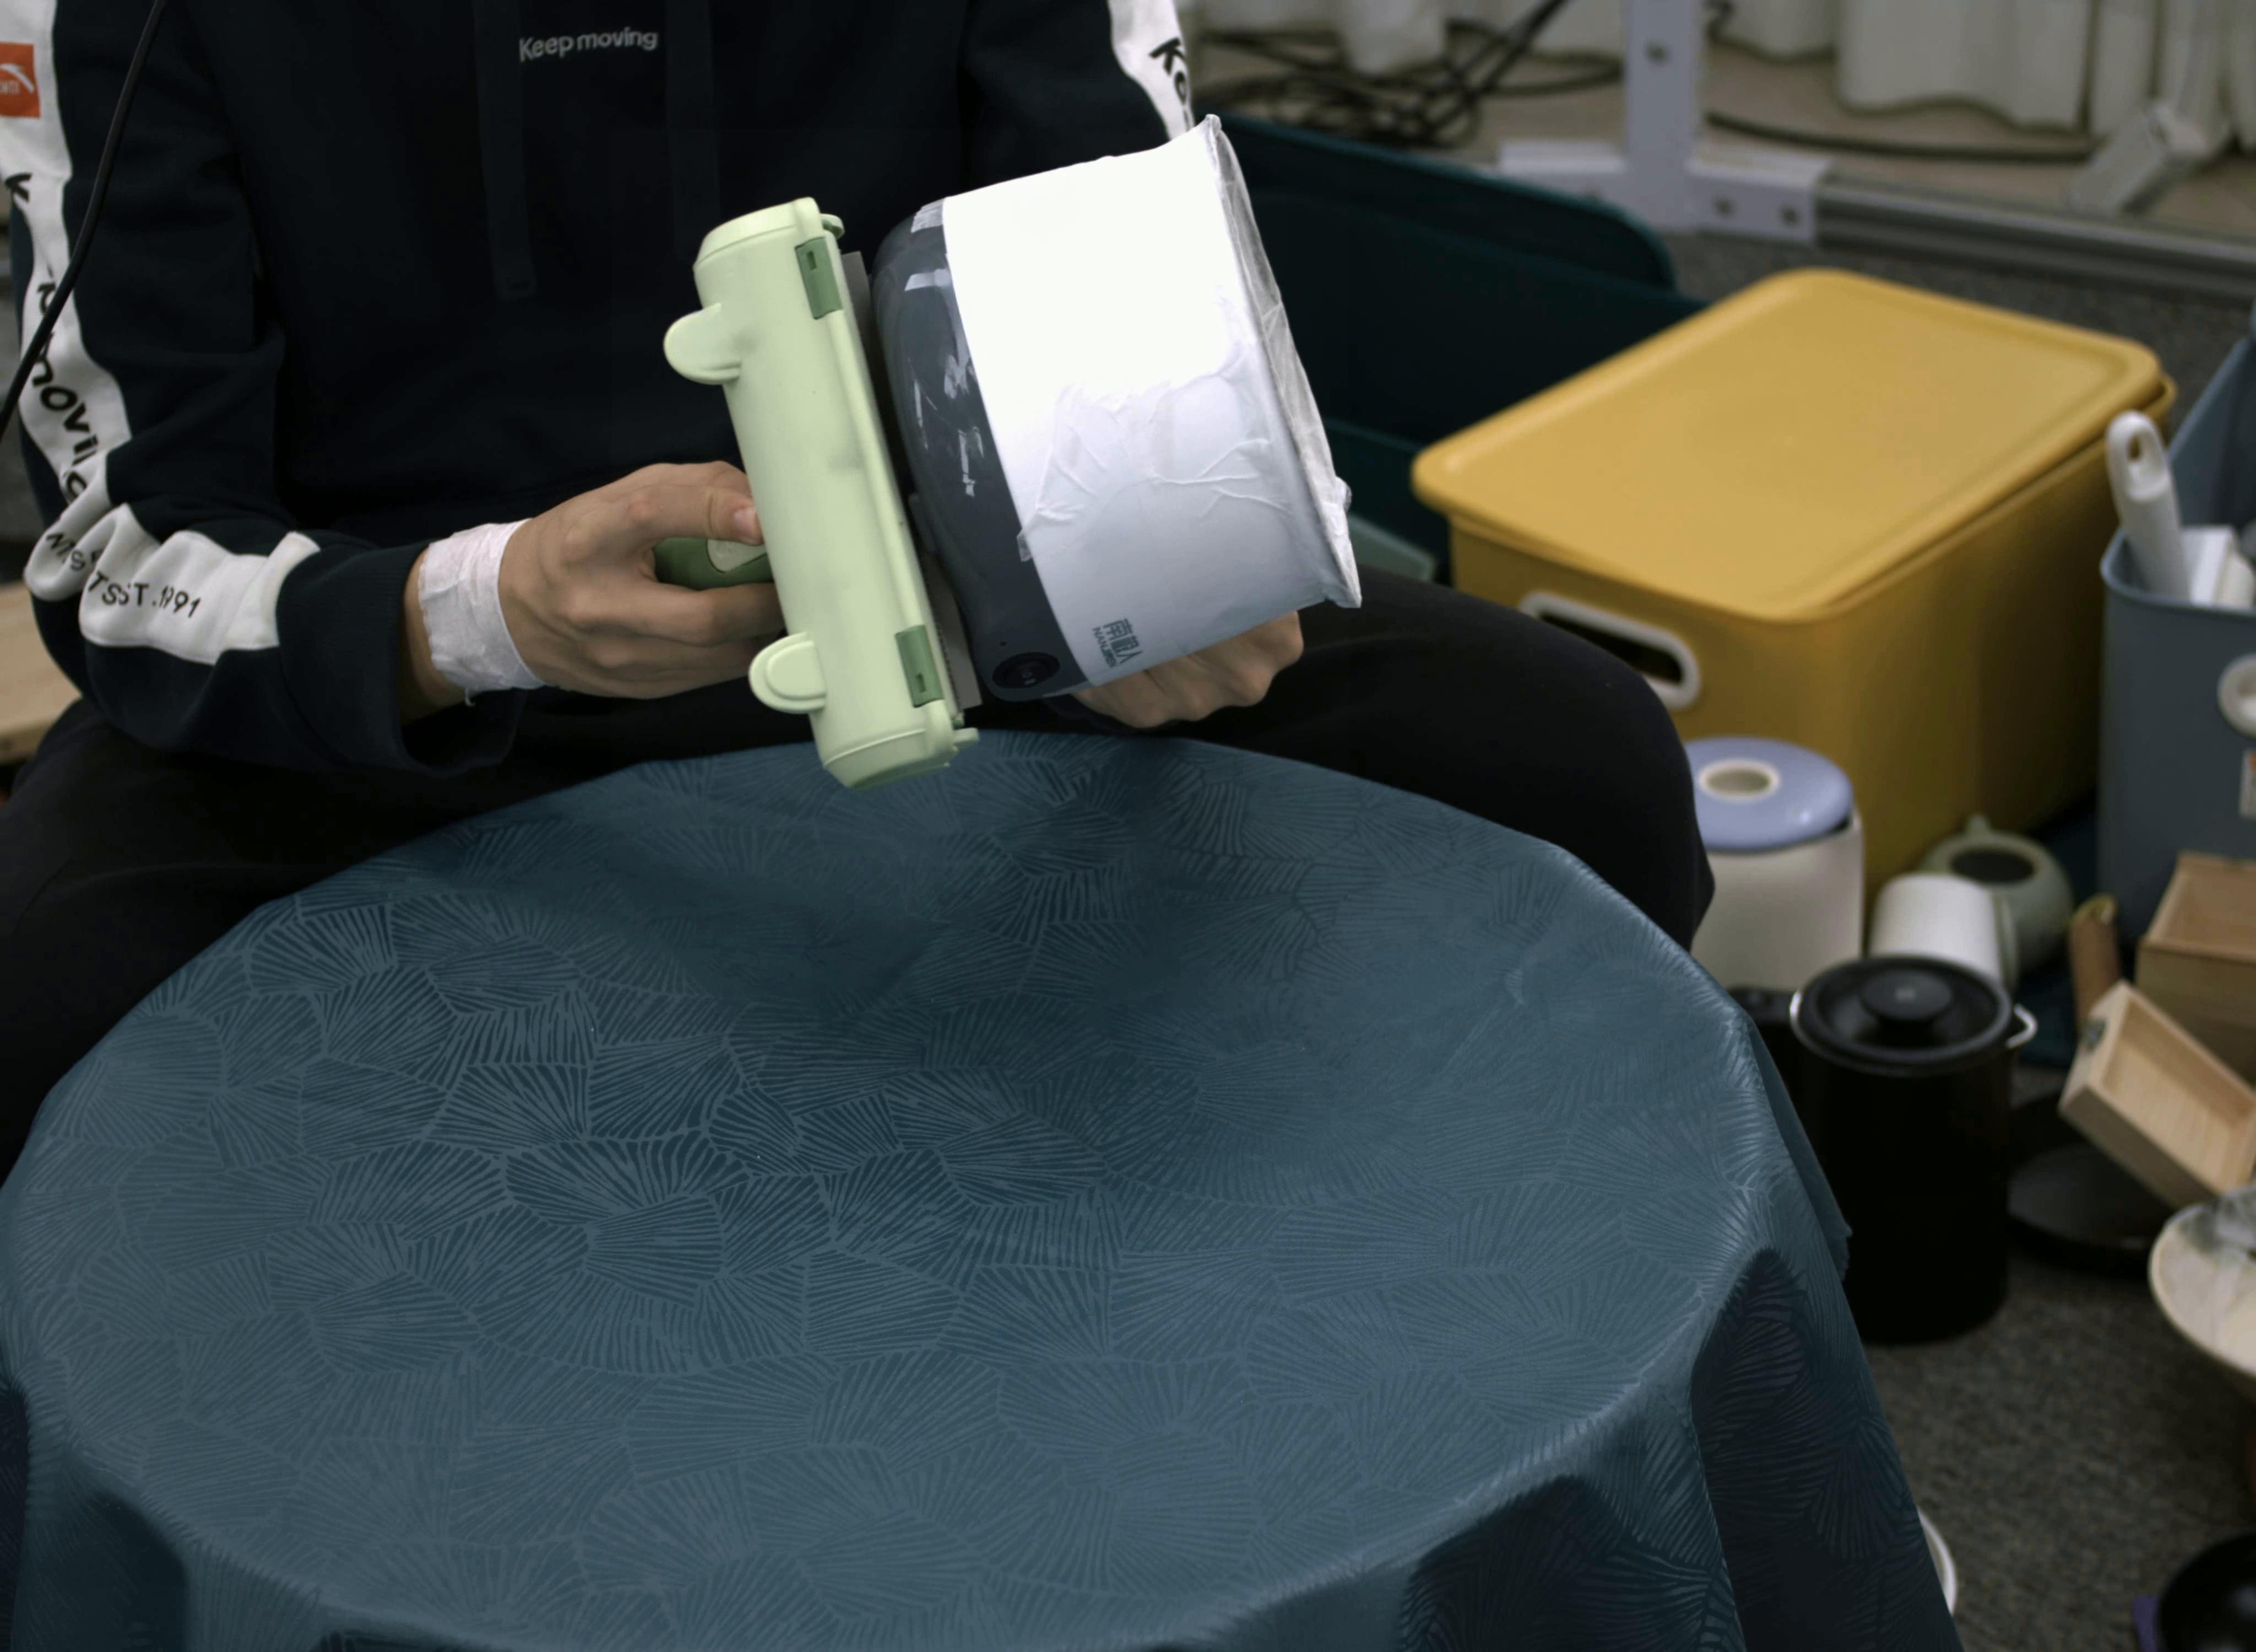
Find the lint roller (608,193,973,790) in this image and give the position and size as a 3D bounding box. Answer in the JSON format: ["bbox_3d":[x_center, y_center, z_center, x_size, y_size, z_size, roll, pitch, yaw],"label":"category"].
[{"bbox_3d":[-0.142,-0.097,1.929,0.083,0.200,0.180,-8,-10,-46],"label":"lint roller"}]

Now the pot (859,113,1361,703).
[{"bbox_3d":[-0.001,-0.131,1.968,0.136,0.231,0.181,-17,63,6],"label":"pot"}]
